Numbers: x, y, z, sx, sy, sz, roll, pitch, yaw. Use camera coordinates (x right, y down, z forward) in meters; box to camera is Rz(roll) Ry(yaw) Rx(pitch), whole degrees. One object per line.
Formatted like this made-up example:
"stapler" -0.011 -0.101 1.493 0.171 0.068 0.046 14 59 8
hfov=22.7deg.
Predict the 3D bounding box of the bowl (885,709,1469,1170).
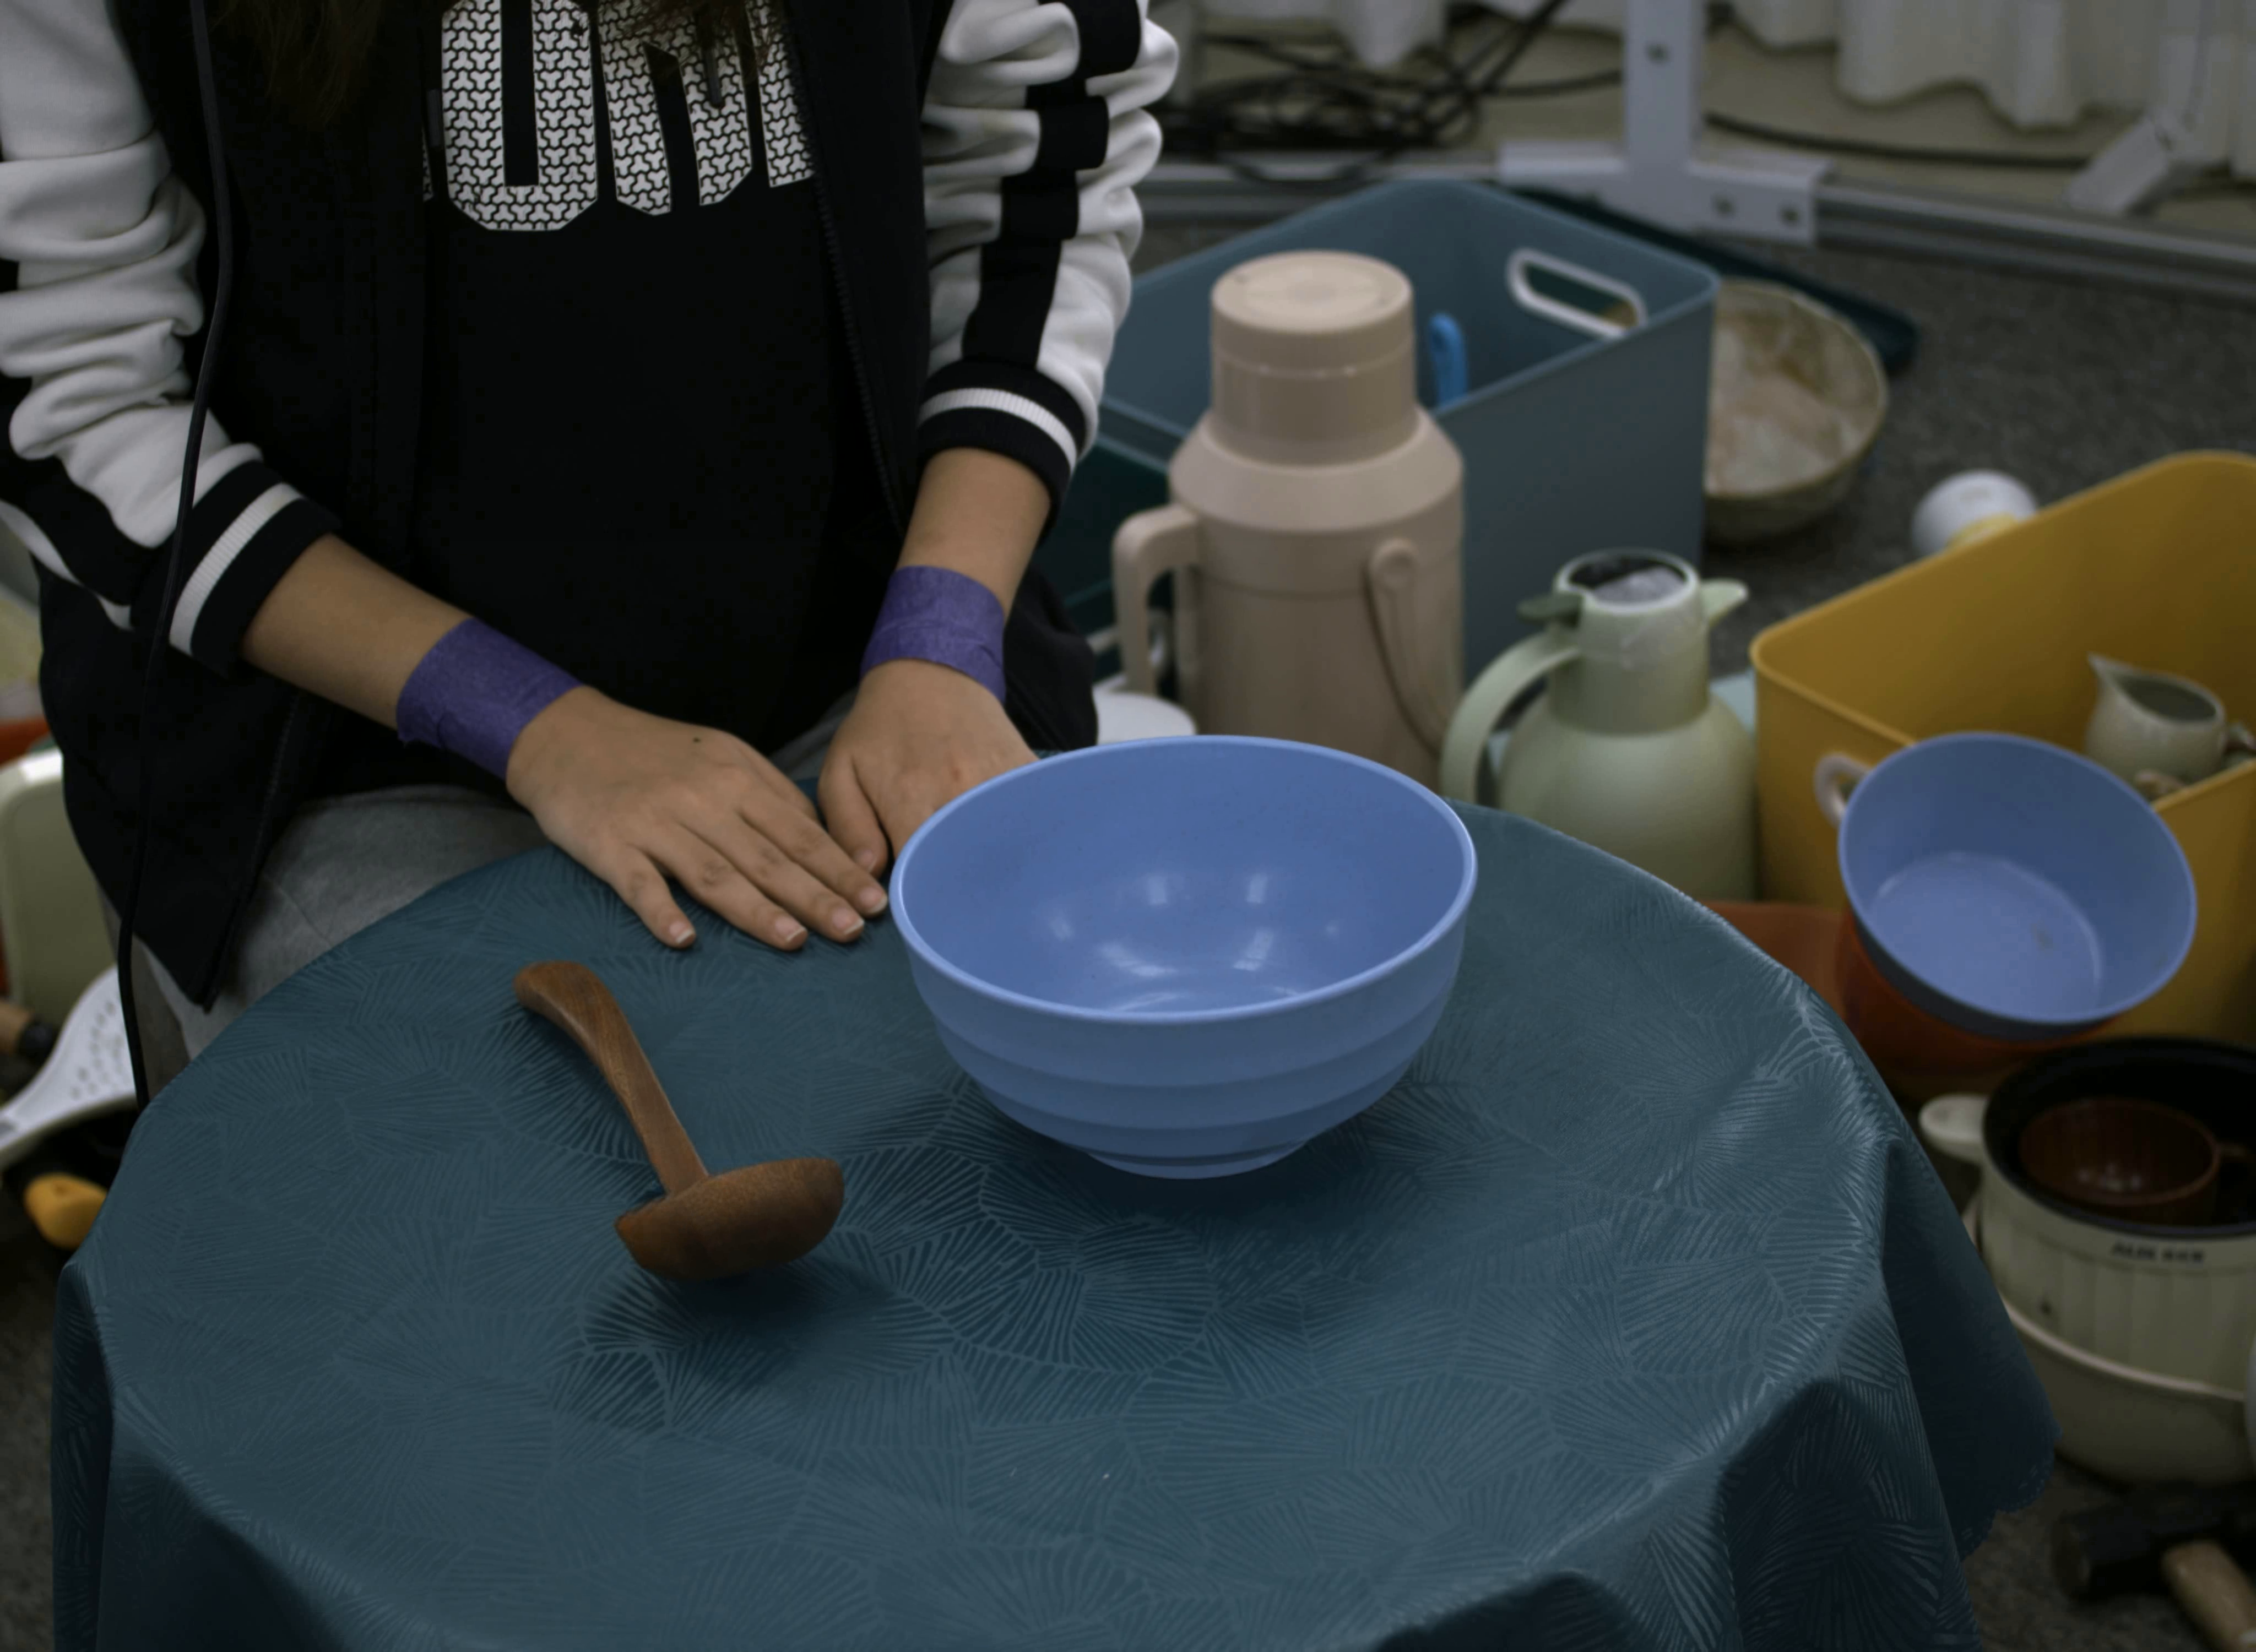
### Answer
"bowl" 0.021 0.051 1.894 0.195 0.094 0.200 -5 32 4

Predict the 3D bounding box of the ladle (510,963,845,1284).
"ladle" -0.163 0.085 1.881 0.076 0.064 0.262 -6 27 -20
